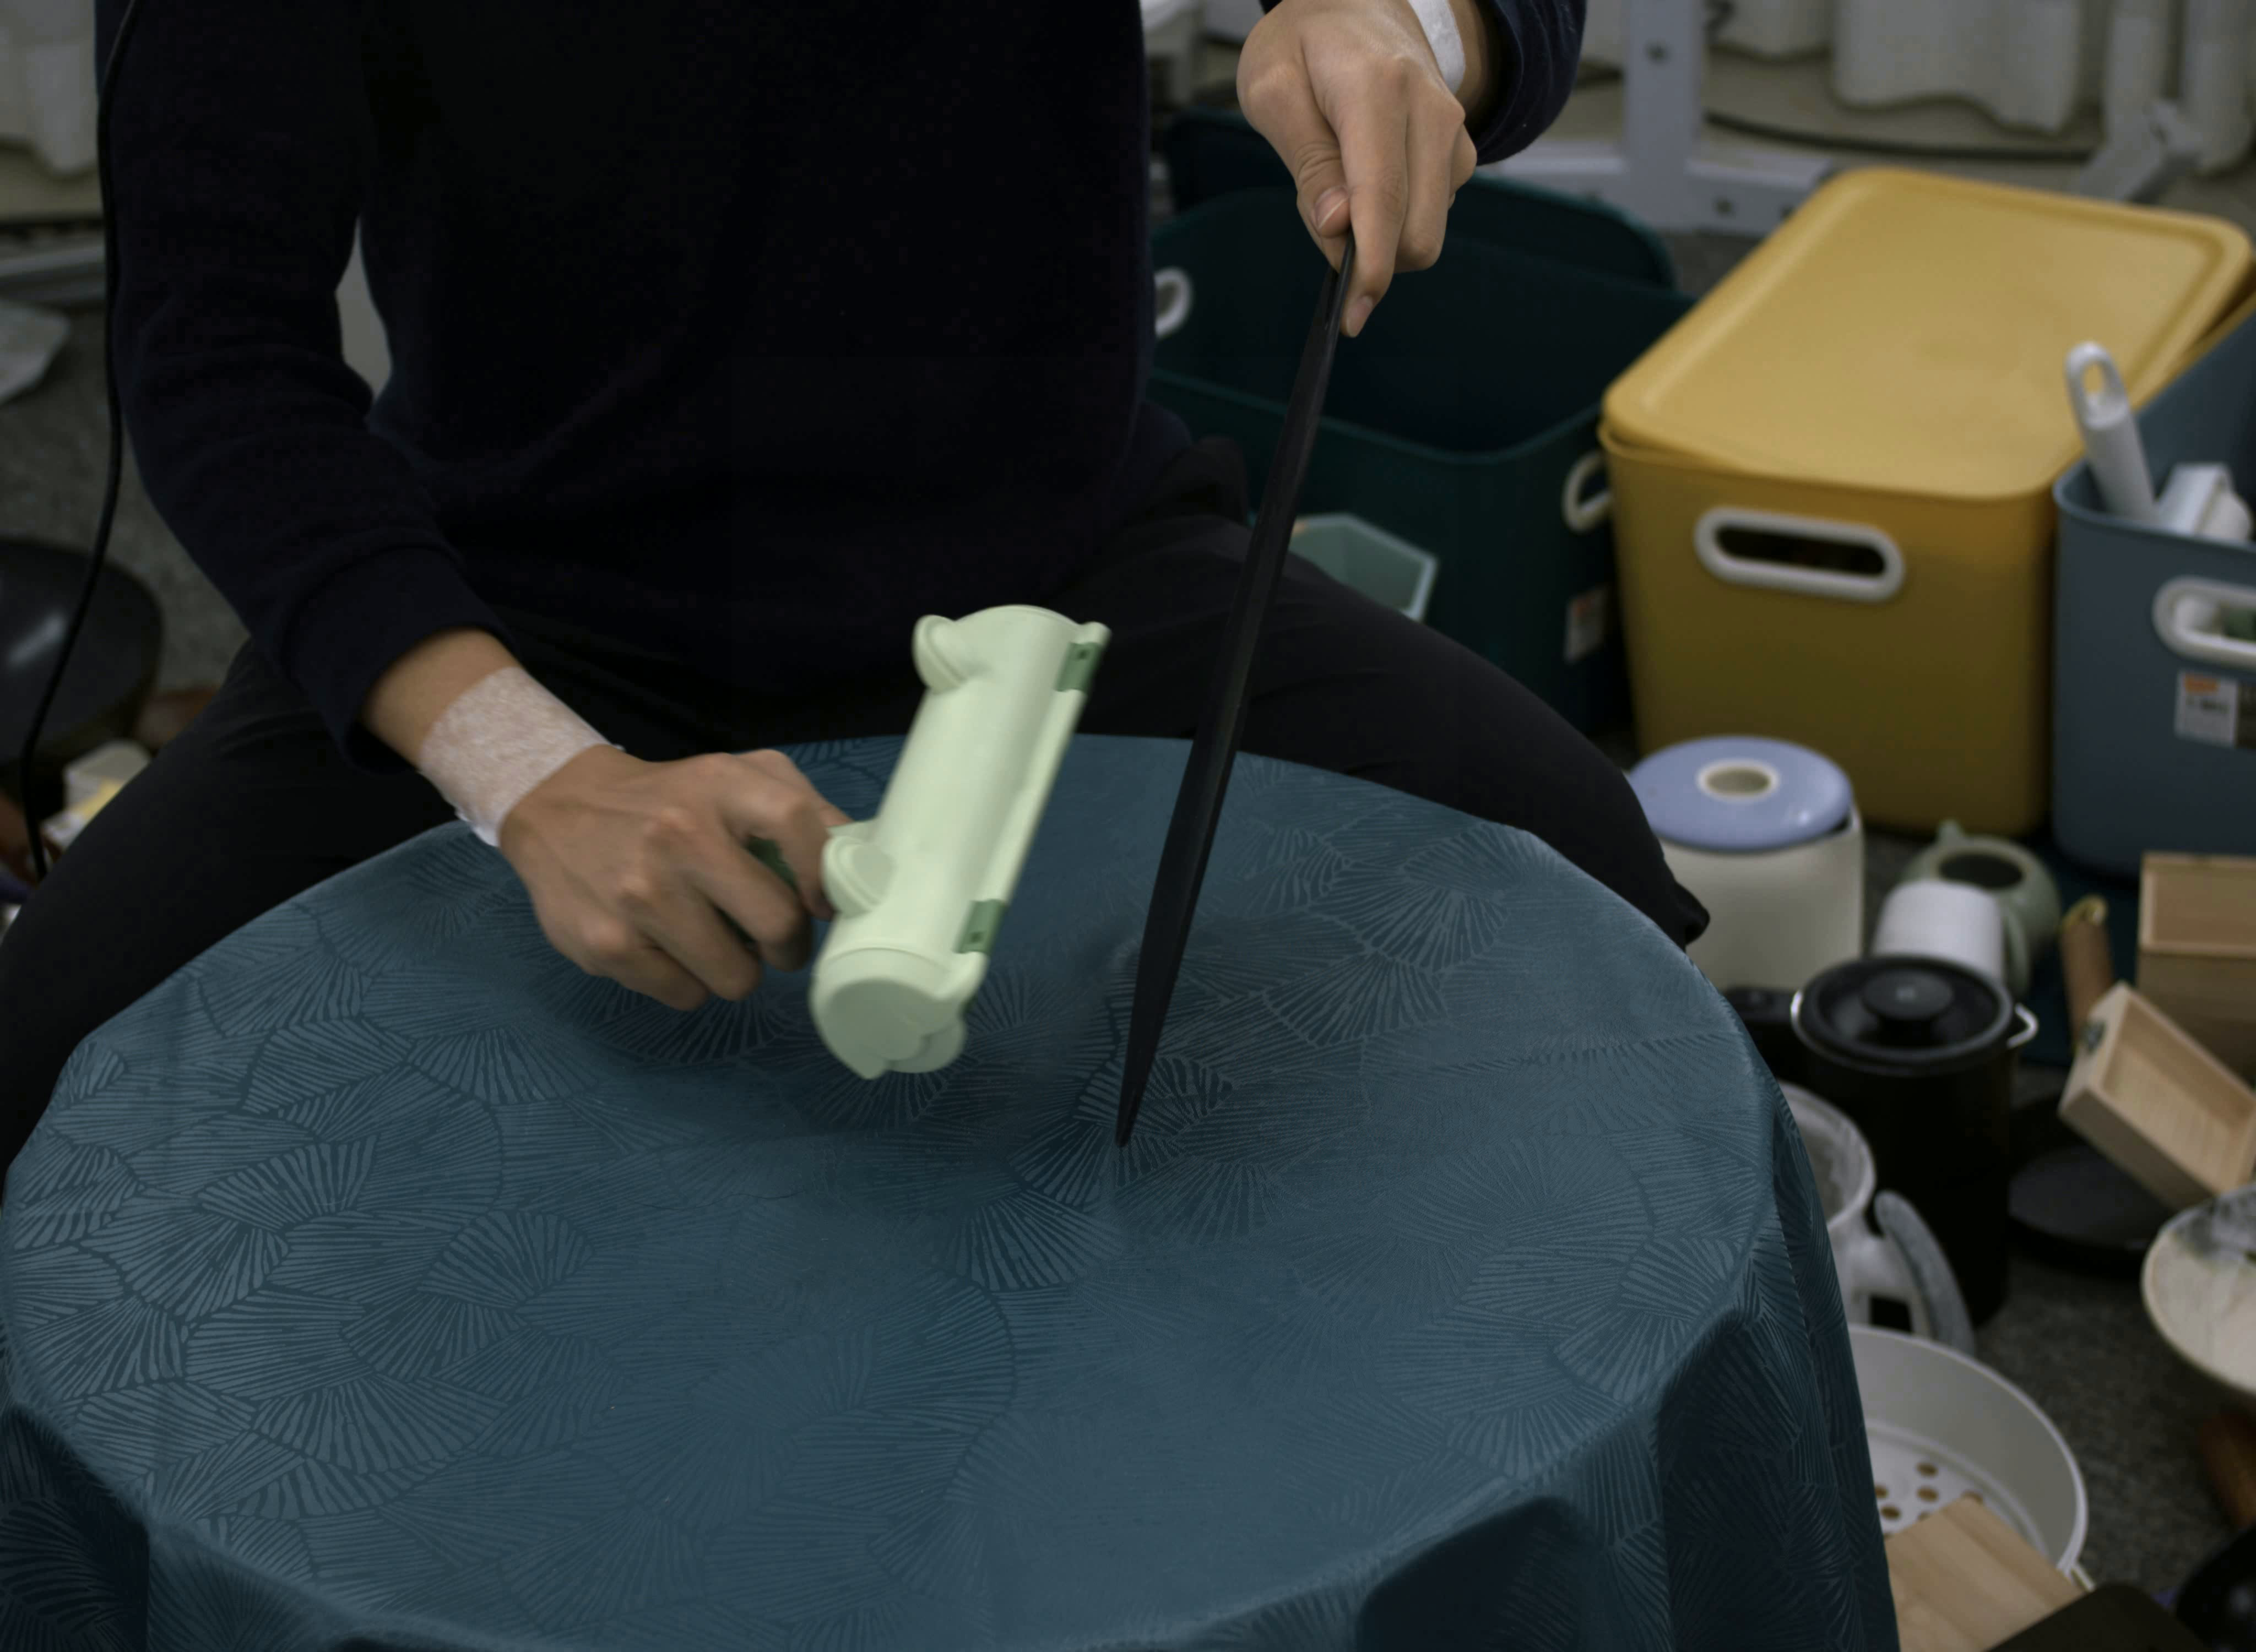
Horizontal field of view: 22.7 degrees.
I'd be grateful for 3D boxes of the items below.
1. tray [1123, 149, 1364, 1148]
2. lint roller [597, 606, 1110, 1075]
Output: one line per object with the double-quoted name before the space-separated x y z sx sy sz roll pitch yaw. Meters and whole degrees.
"tray" 0.040 -0.064 1.875 0.010 0.322 0.214 13 24 -2
"lint roller" -0.109 0.002 1.914 0.181 0.081 0.202 -6 37 20
